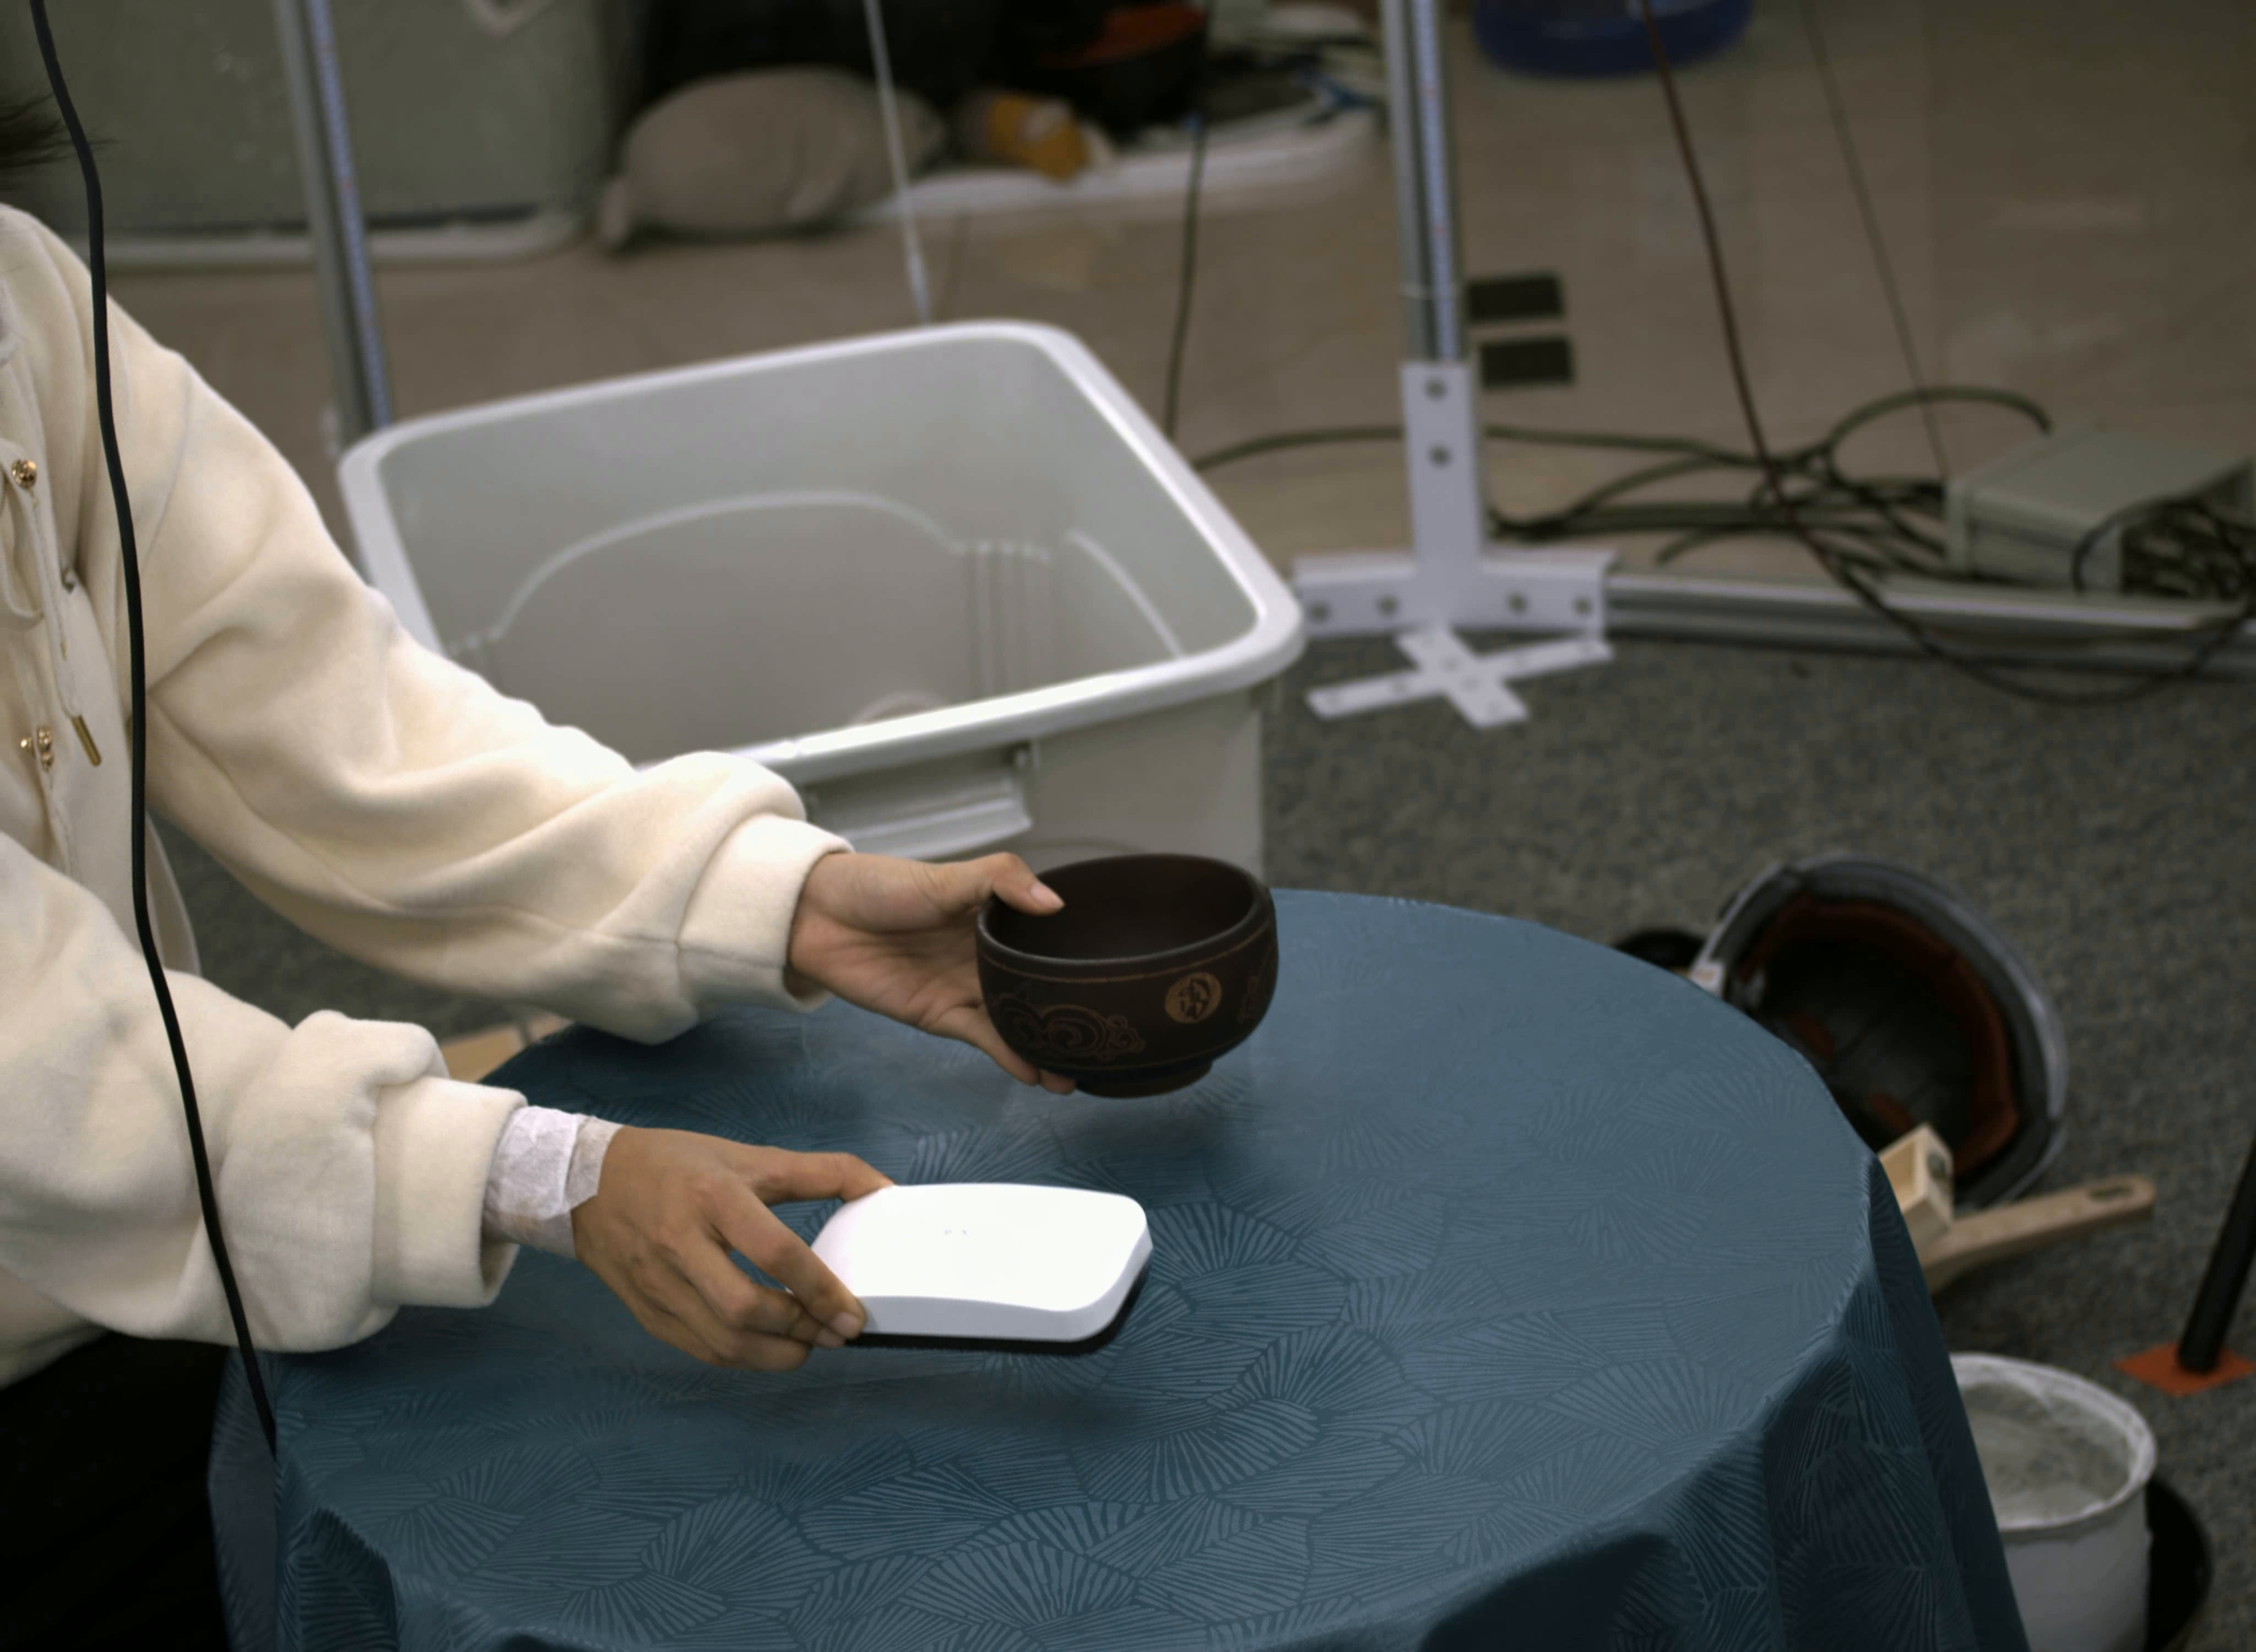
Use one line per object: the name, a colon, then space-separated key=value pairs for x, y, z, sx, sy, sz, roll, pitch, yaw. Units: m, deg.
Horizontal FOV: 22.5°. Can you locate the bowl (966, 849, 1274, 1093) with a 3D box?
bowl: x=-0.001 y=0.060 z=2.174 sx=0.118 sy=0.071 sz=0.116 roll=-7 pitch=18 yaw=3

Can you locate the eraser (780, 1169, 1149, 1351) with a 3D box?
eraser: x=-0.057 y=0.154 z=2.001 sx=0.131 sy=0.035 sz=0.062 roll=-1 pitch=37 yaw=30
